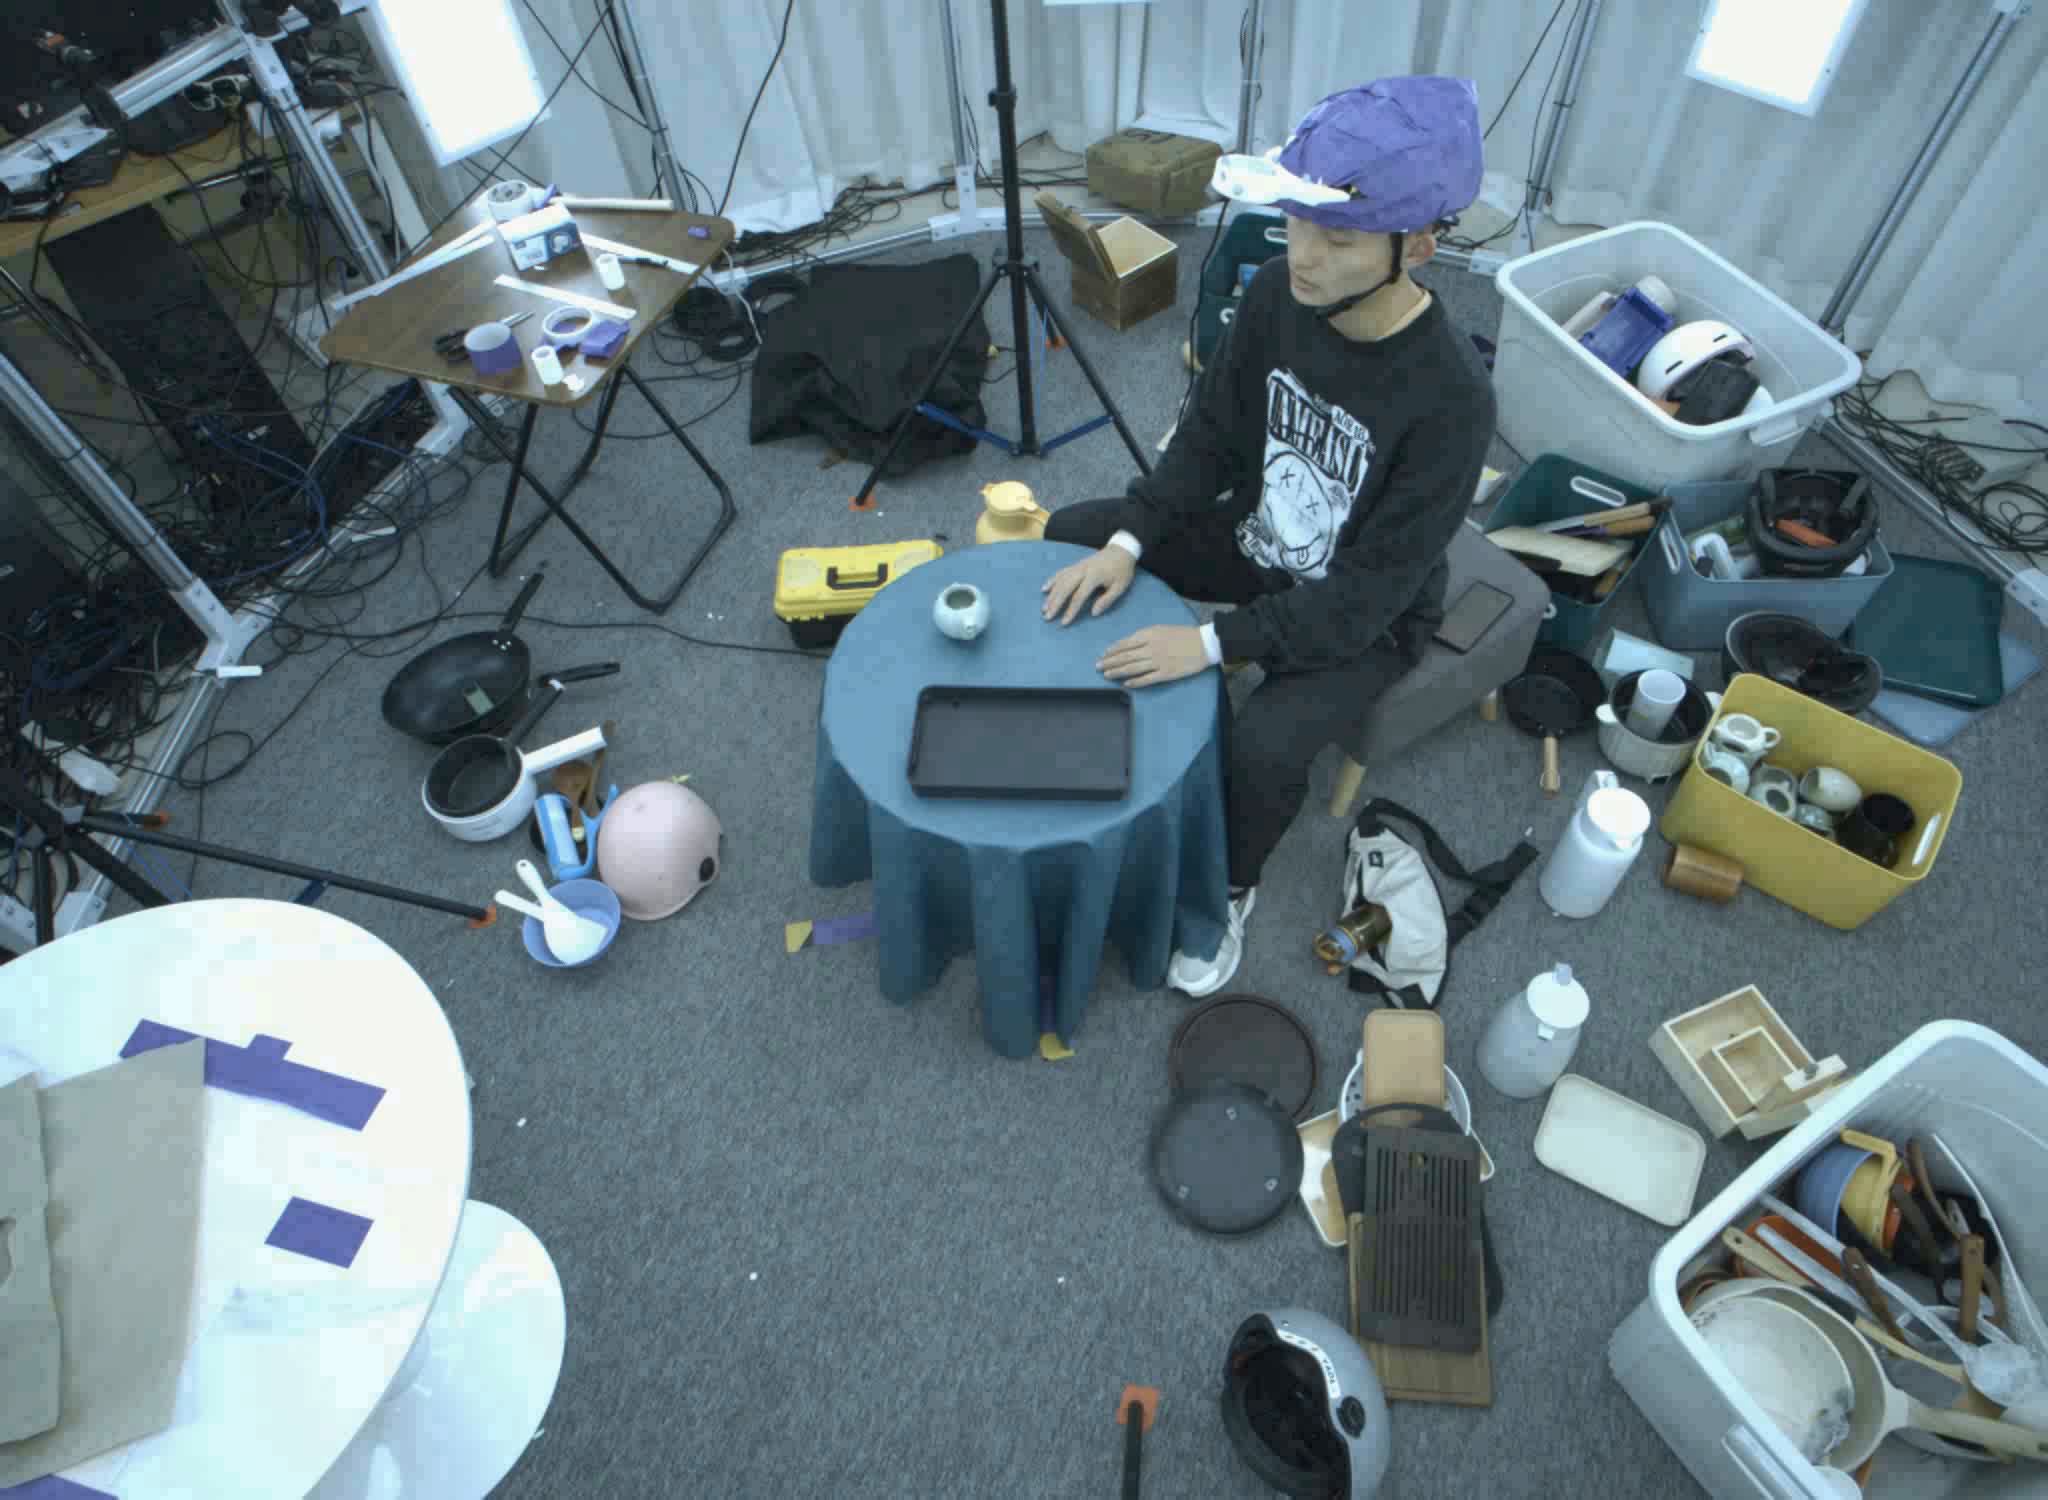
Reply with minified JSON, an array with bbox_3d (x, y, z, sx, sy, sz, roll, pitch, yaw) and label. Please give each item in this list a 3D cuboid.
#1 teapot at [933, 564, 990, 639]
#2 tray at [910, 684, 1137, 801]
[{"bbox_3d":[-0.098,-0.216,1.896,0.089,0.075,0.141,-12,56,-6],"label":"teapot"},{"bbox_3d":[0.001,-0.012,1.769,0.317,0.037,0.182,0,54,2],"label":"tray"}]
